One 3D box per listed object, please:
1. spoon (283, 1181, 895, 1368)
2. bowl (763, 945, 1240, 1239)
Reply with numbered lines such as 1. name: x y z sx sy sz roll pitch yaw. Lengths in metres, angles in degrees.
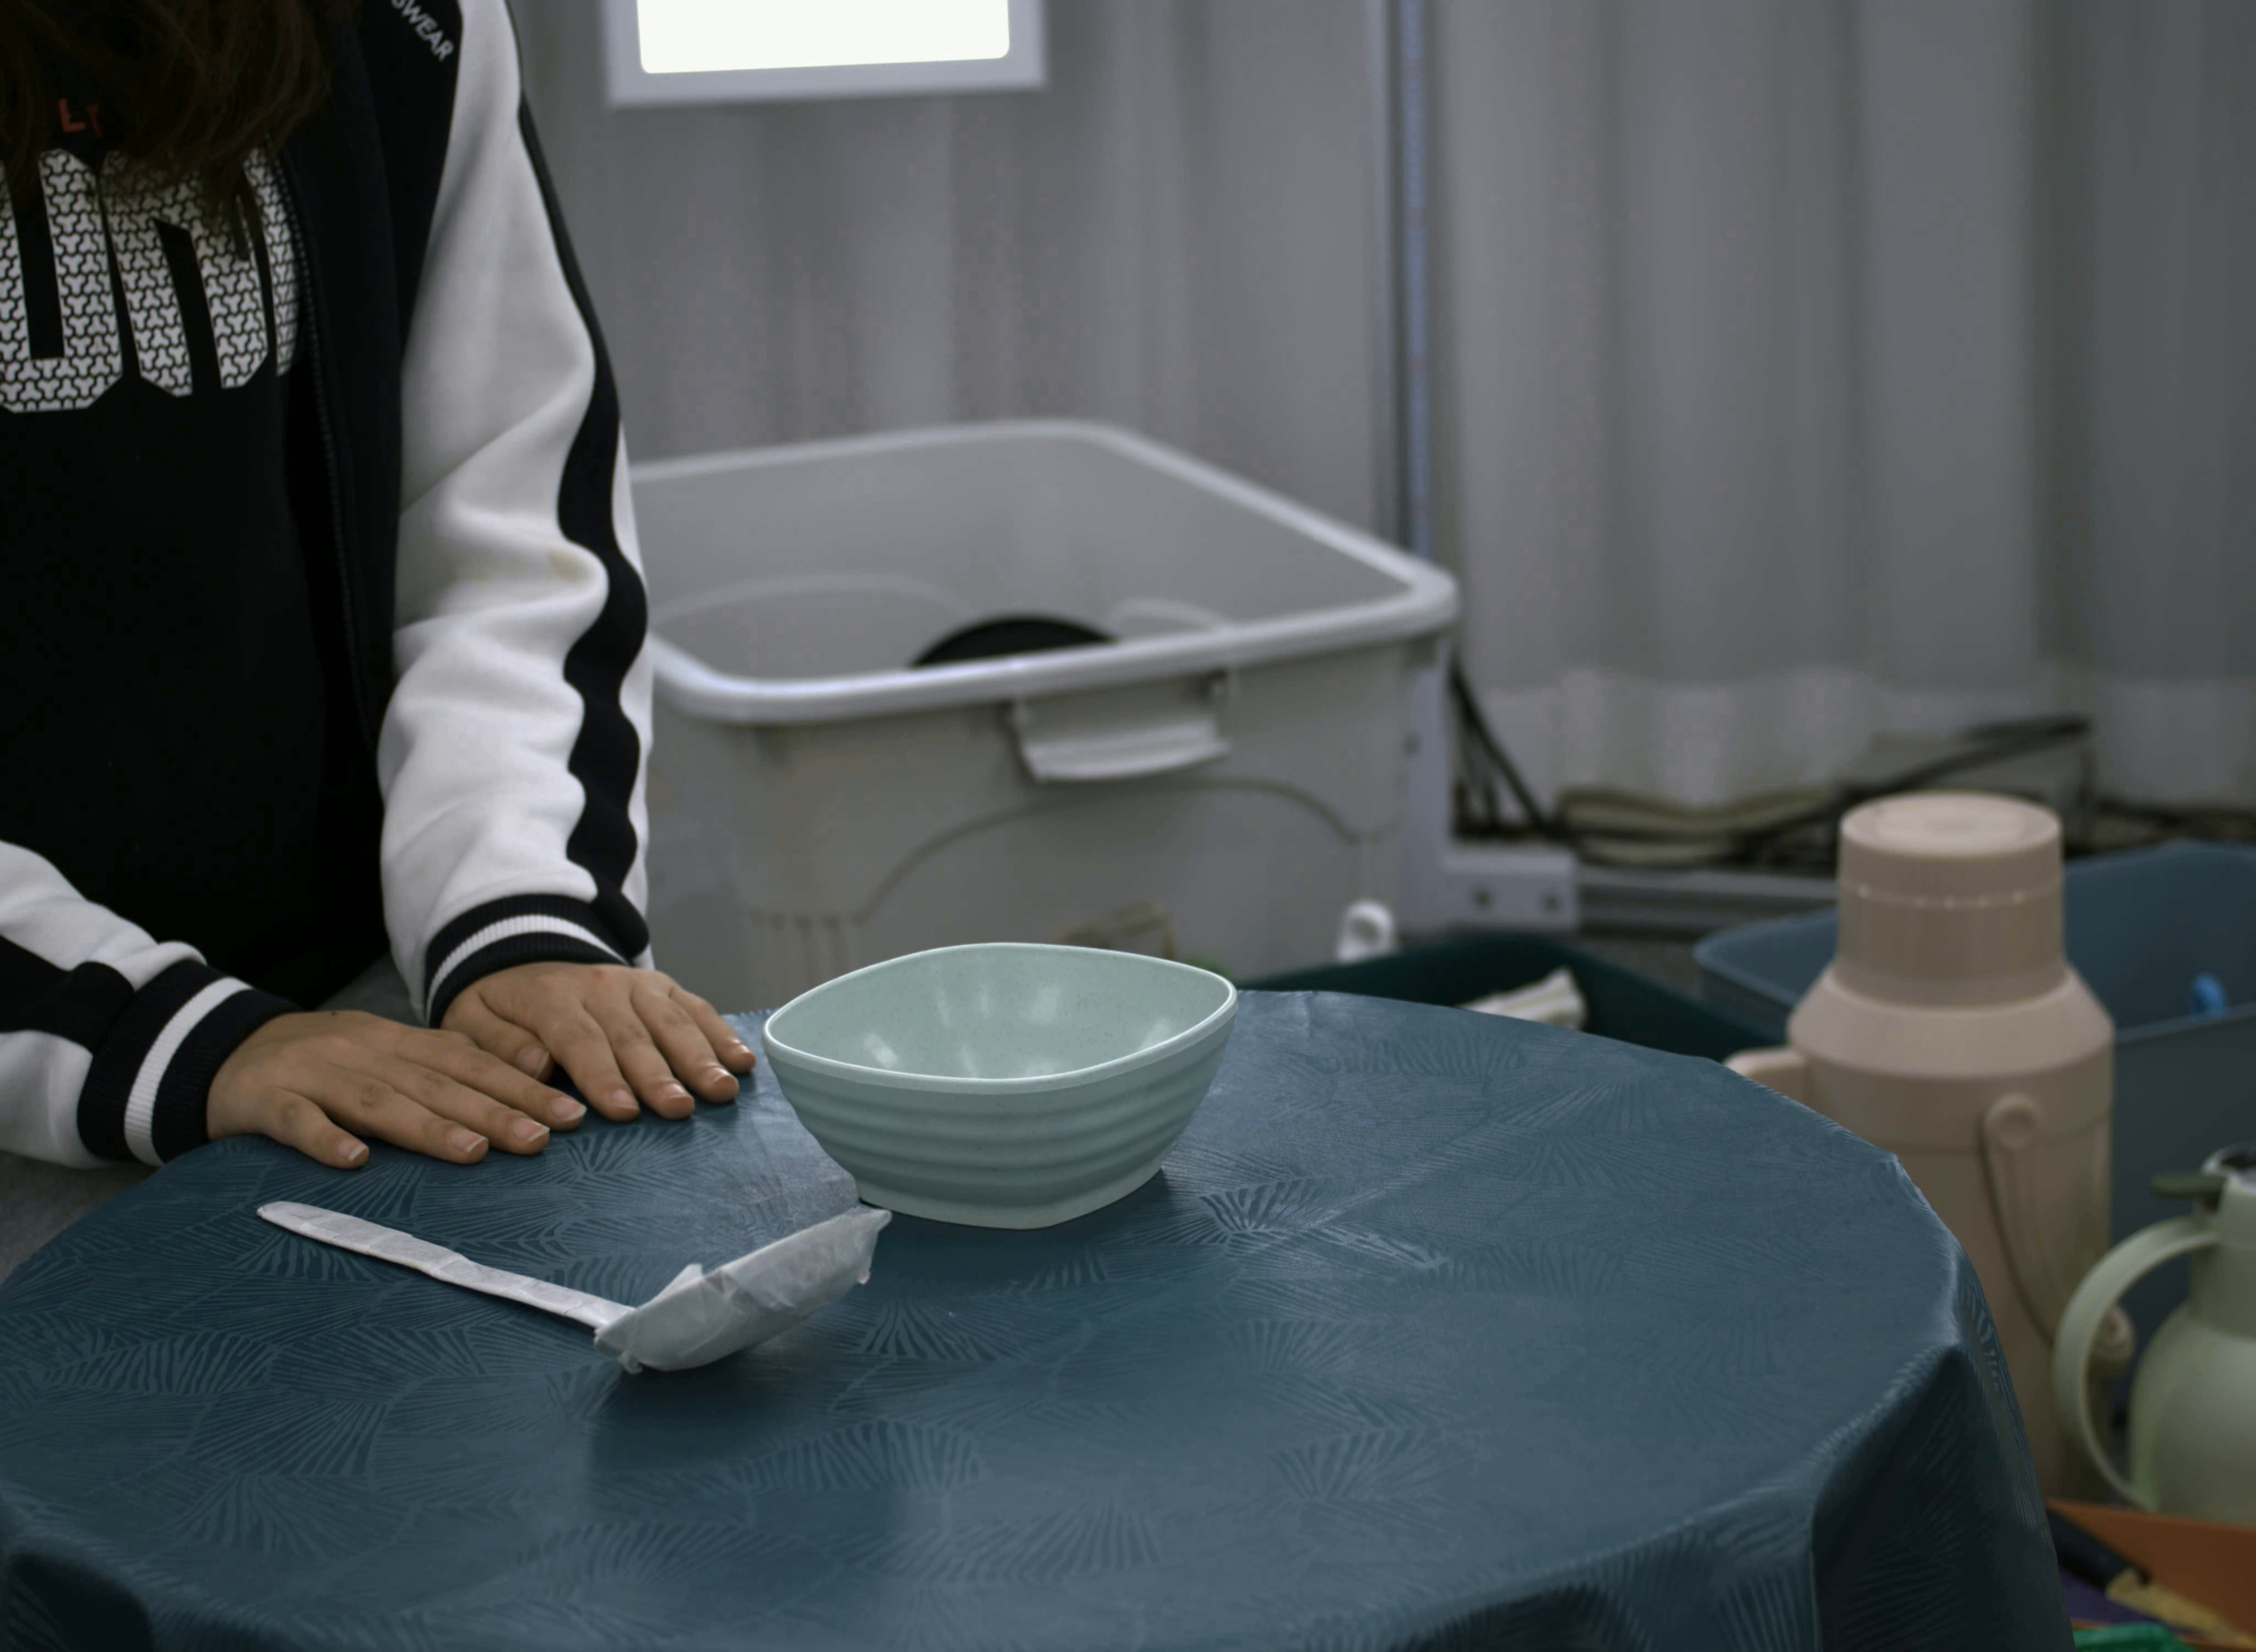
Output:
1. spoon: -0.172 0.114 1.641 0.100 0.059 0.279 -8 15 -39
2. bowl: -0.038 0.087 1.724 0.151 0.058 0.152 -3 15 1
